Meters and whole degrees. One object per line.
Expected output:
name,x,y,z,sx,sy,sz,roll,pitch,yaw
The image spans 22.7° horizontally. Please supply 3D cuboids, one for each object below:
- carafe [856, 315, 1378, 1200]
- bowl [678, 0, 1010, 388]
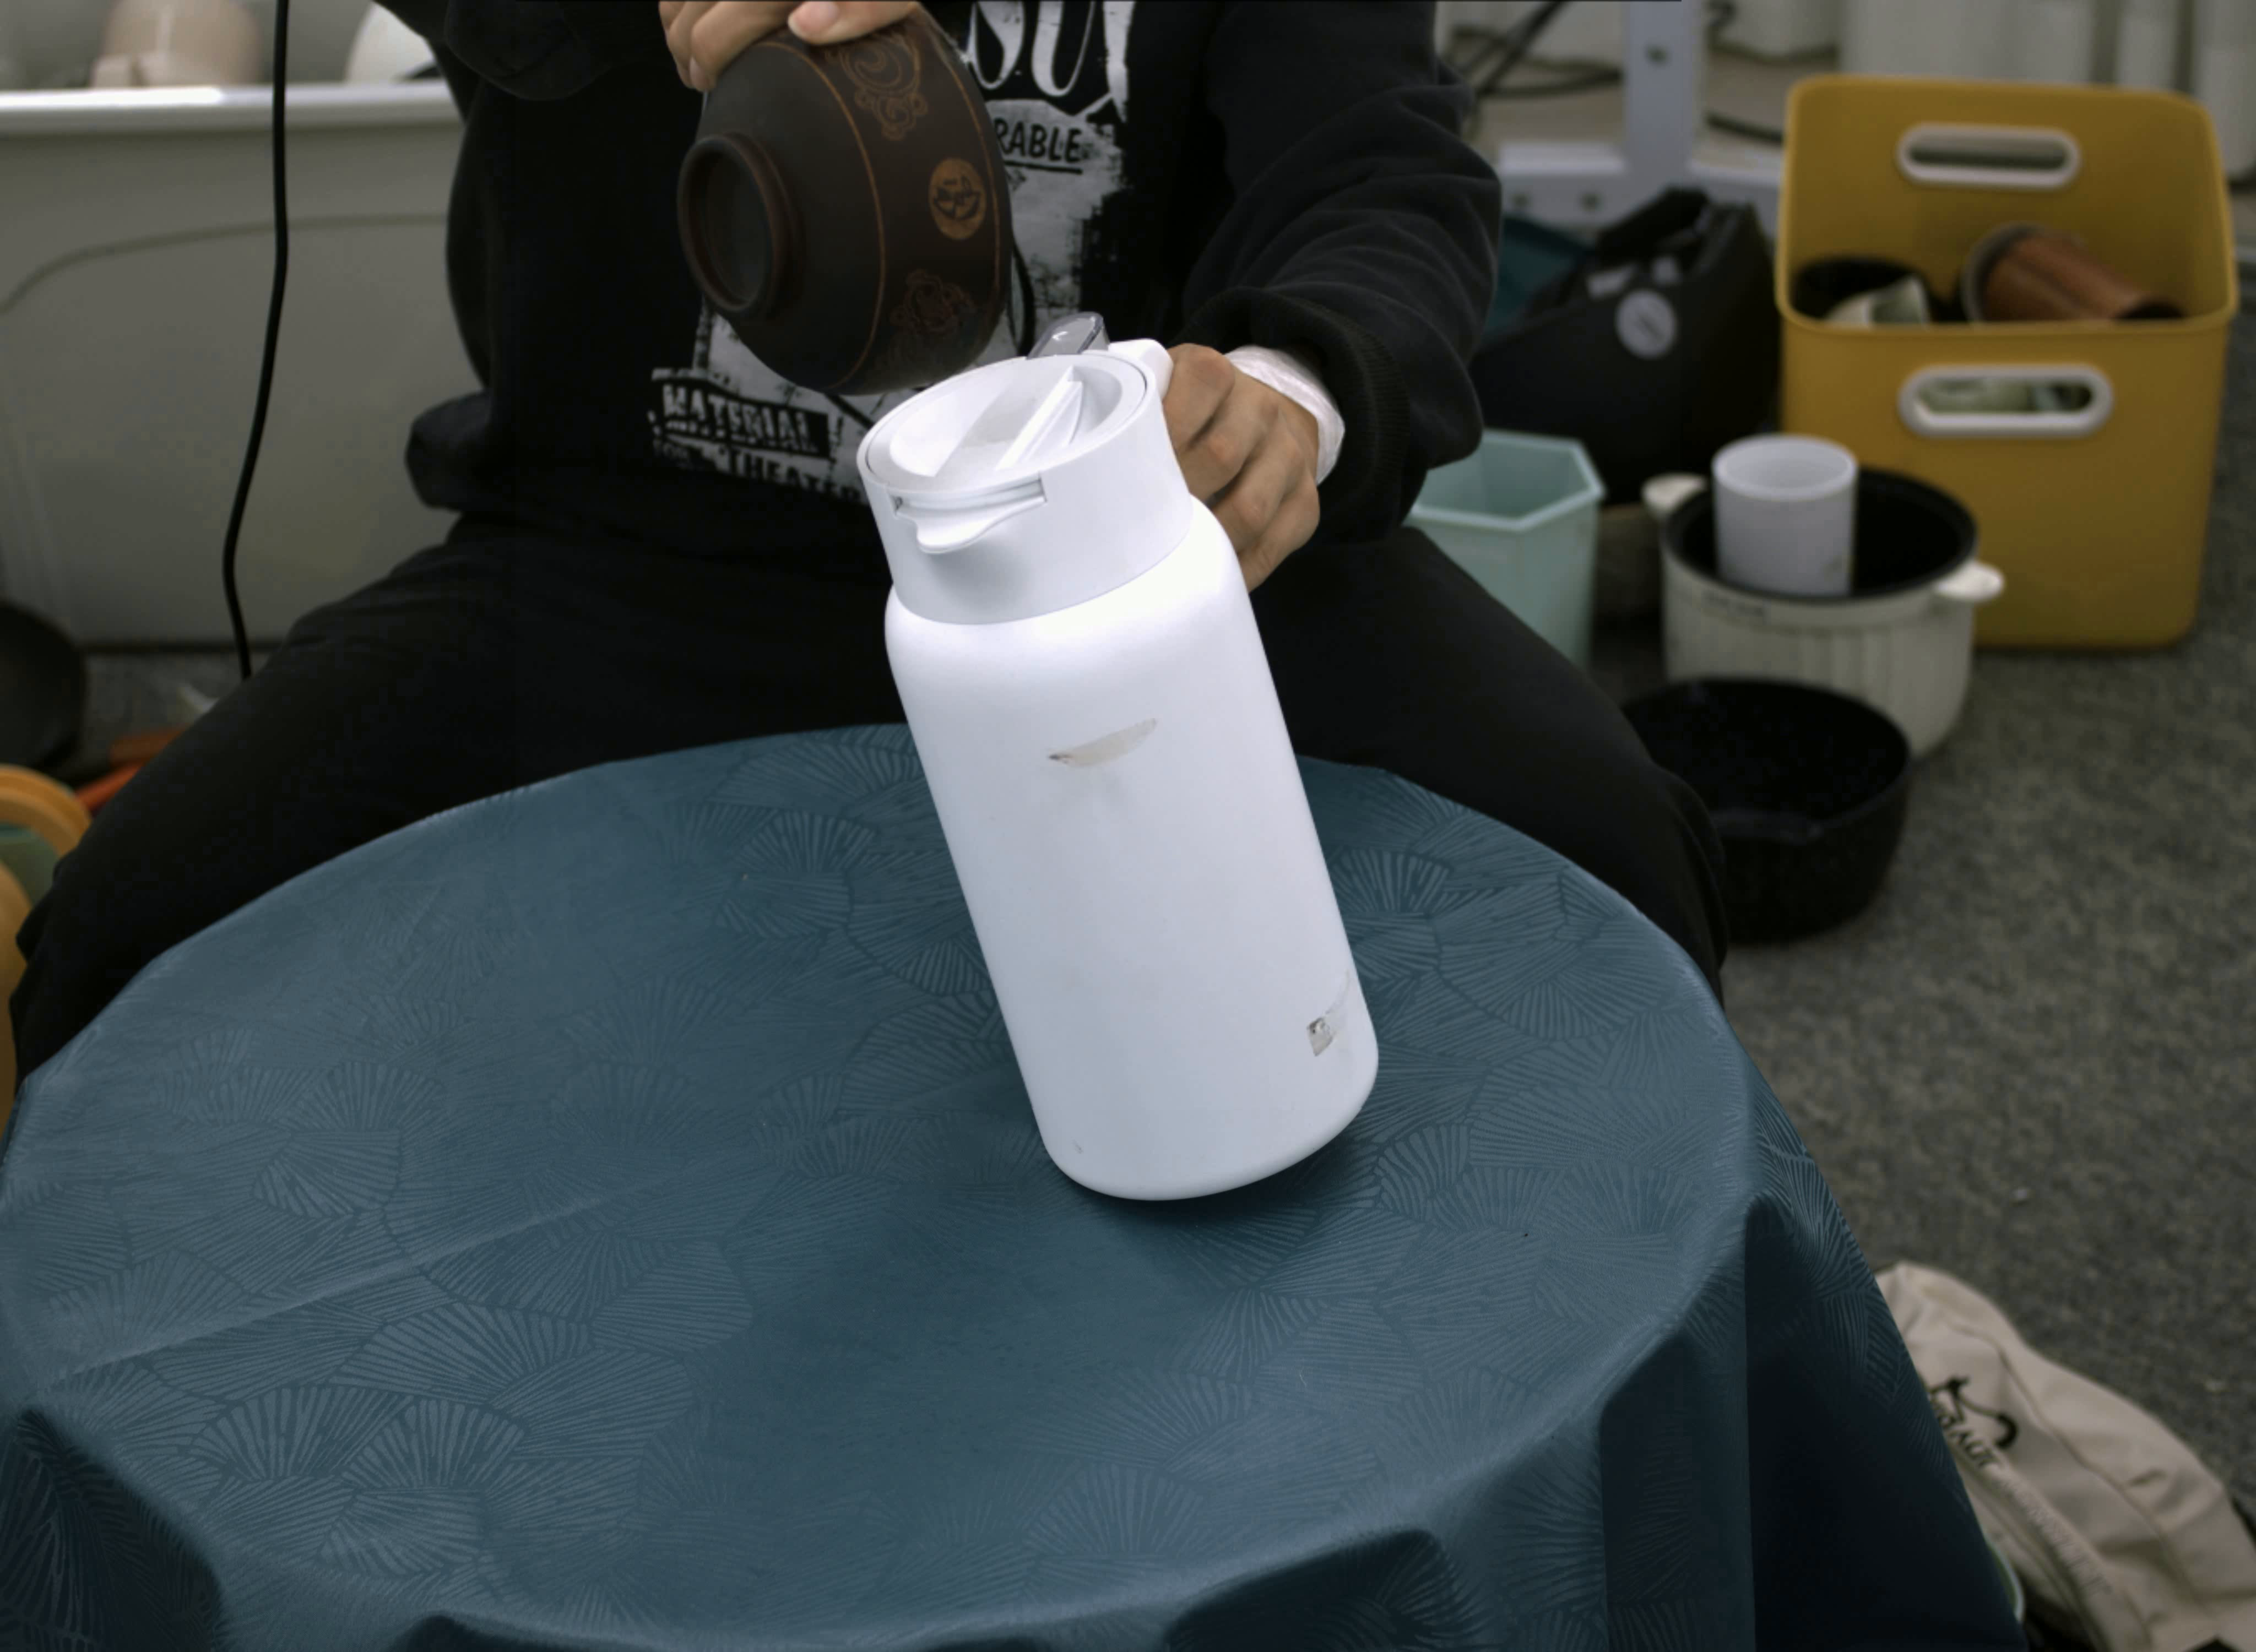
carafe,-0.001,-0.026,1.842,0.122,0.266,0.176,-8,26,23
bowl,-0.094,-0.191,1.724,0.070,0.117,0.118,-13,28,-32
